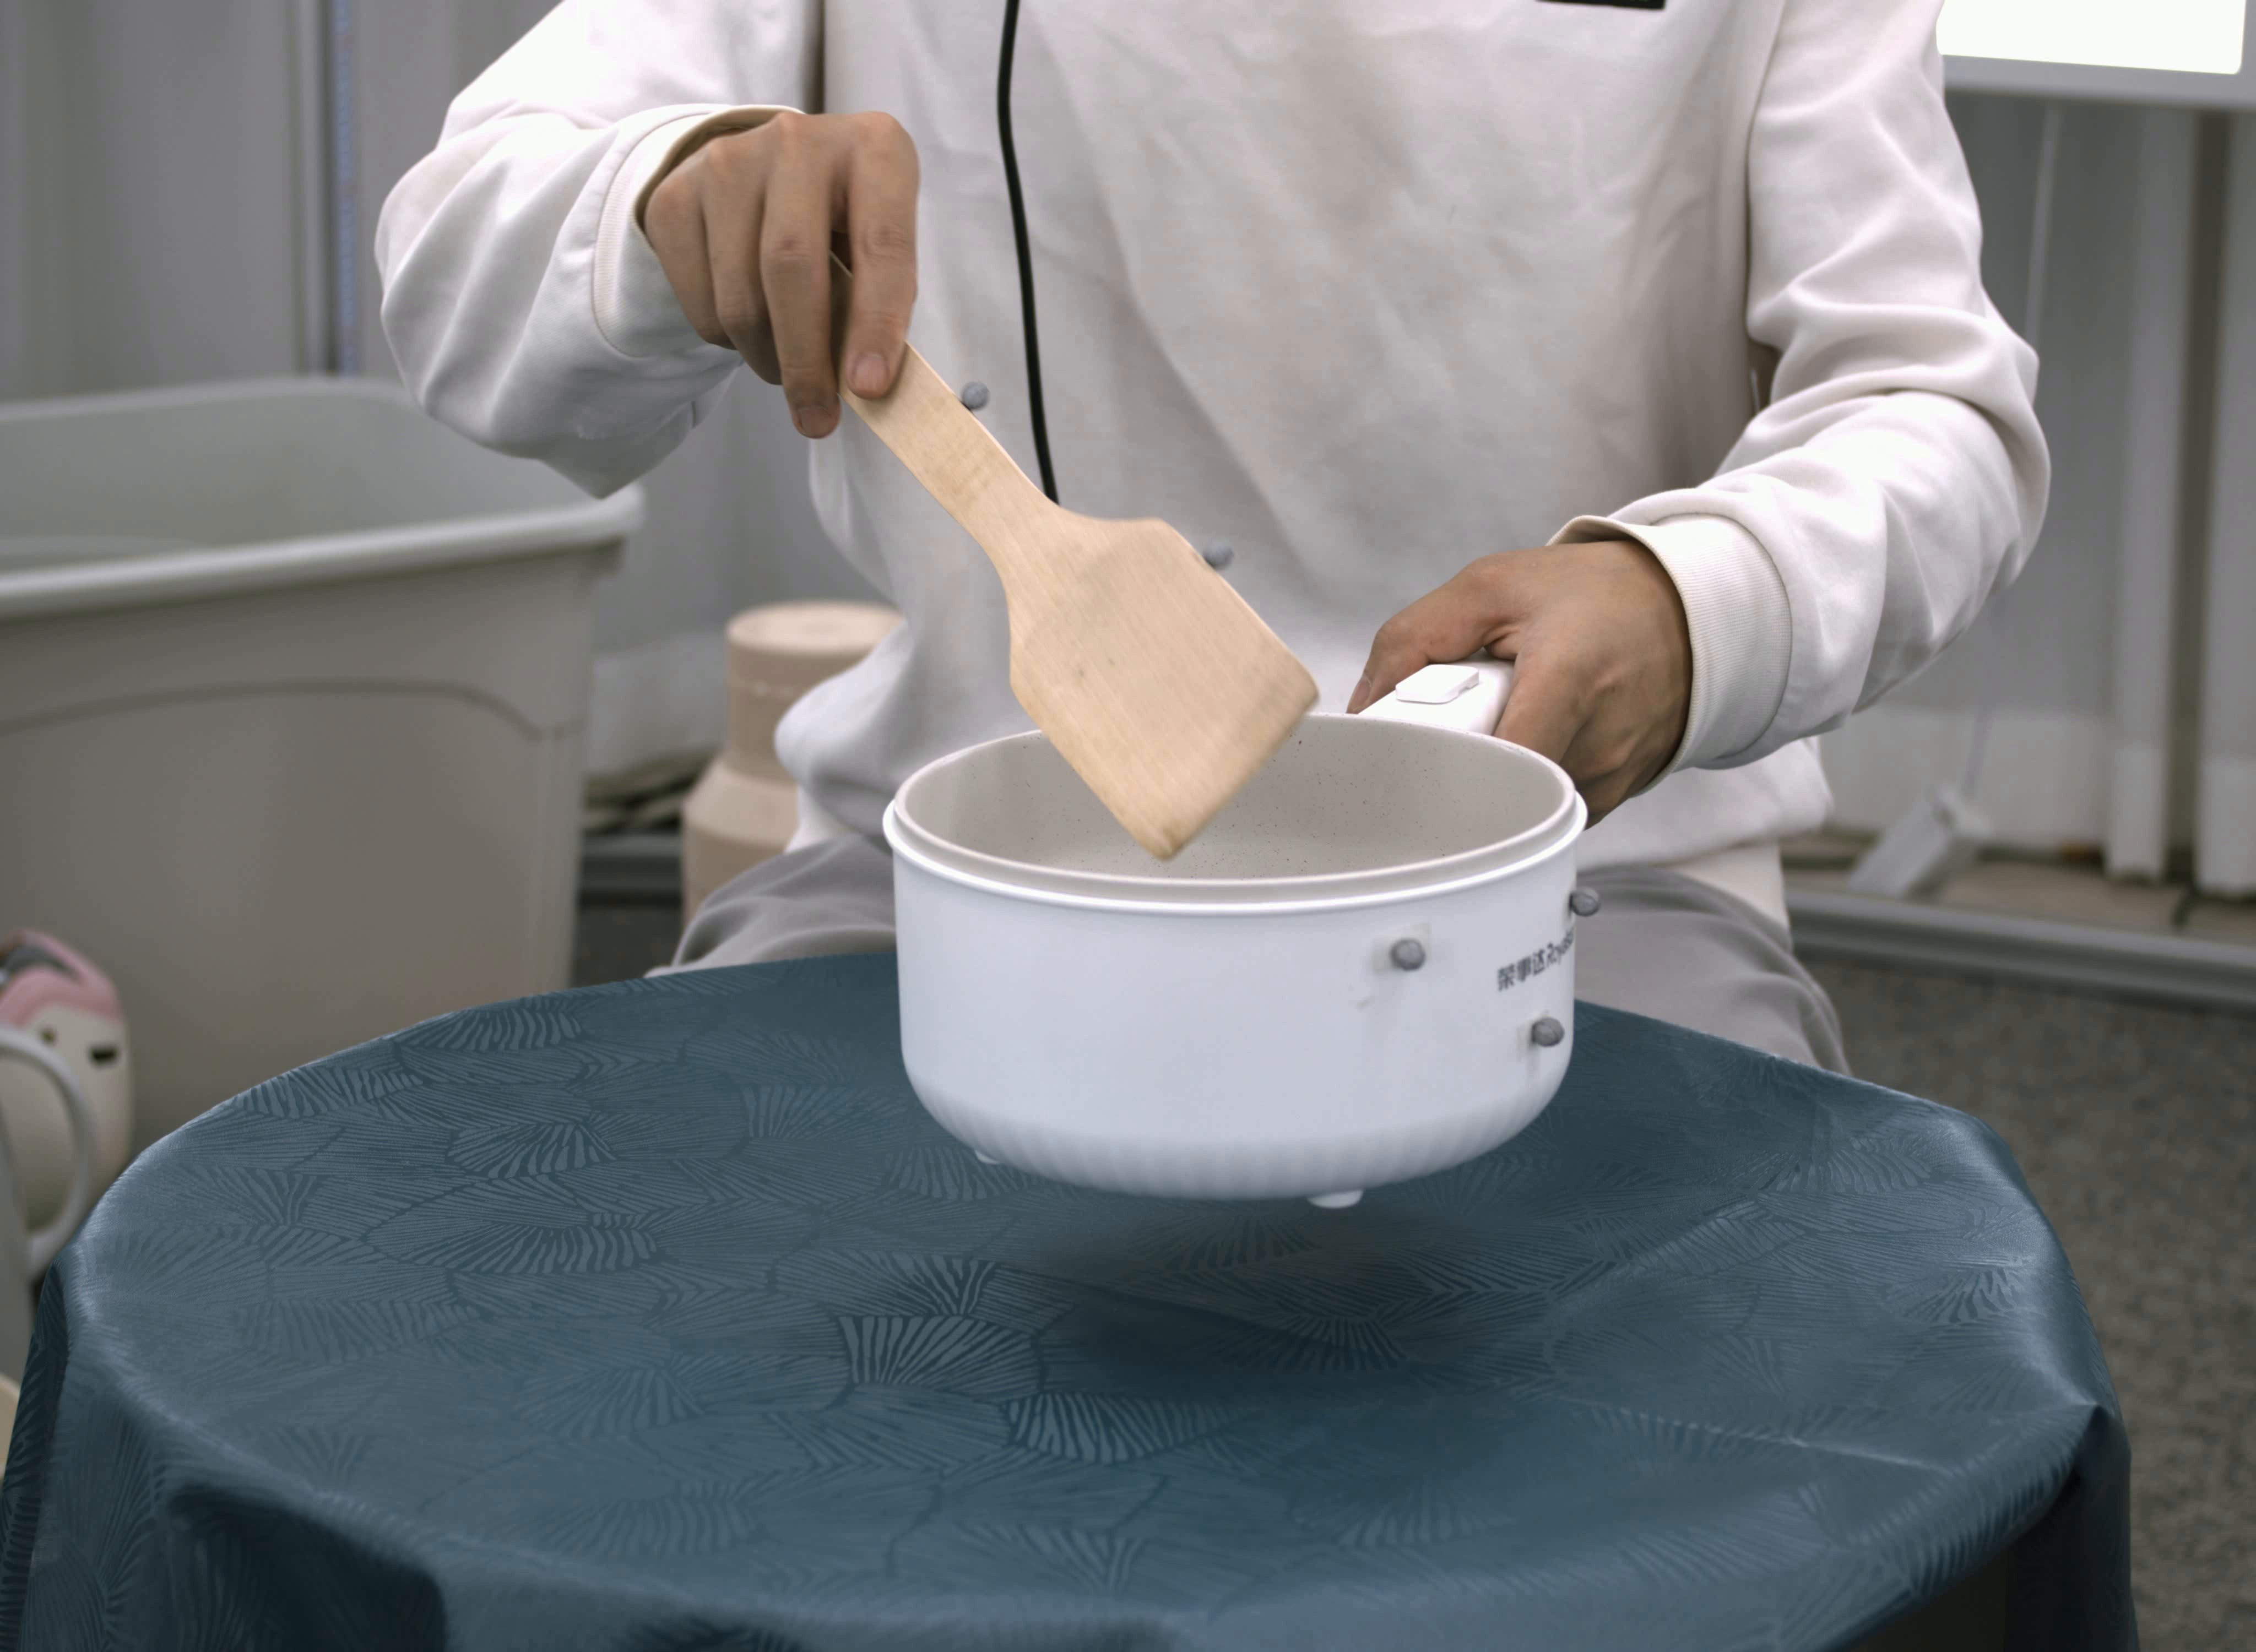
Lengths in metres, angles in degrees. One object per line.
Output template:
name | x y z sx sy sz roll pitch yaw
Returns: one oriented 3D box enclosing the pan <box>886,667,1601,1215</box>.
pan | 0.064 0.029 1.585 0.199 0.103 0.355 2 12 24
